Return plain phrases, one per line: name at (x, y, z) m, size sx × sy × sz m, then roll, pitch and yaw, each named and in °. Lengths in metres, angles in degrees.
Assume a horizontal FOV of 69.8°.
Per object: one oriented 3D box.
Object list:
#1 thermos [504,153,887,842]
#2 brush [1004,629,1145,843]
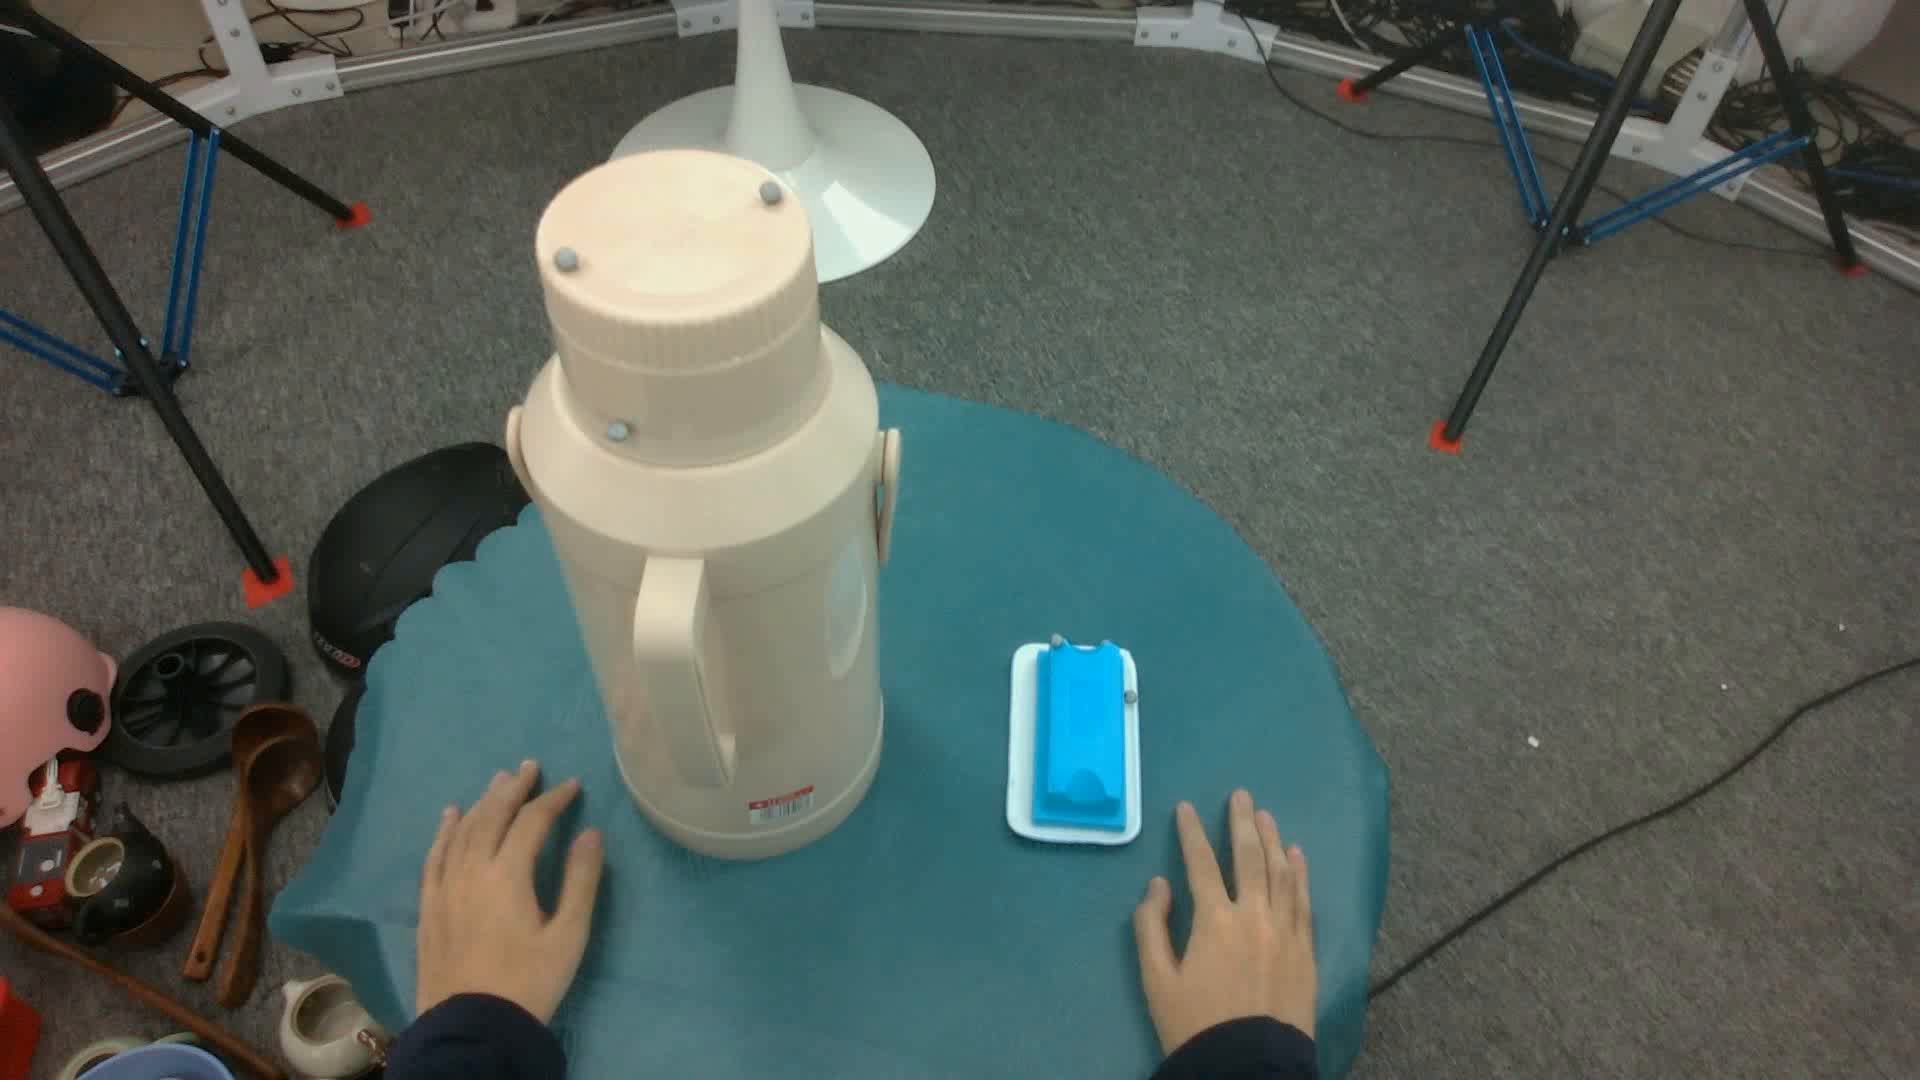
thermos at (-0.127, 0.010, 0.694) m, size 0.175 × 0.404 × 0.208 m, roll 3°, pitch 53°, yaw -3°
brush at (0.071, 0.111, 0.837) m, size 0.084 × 0.055 × 0.144 m, roll 3°, pitch 49°, yaw 4°
